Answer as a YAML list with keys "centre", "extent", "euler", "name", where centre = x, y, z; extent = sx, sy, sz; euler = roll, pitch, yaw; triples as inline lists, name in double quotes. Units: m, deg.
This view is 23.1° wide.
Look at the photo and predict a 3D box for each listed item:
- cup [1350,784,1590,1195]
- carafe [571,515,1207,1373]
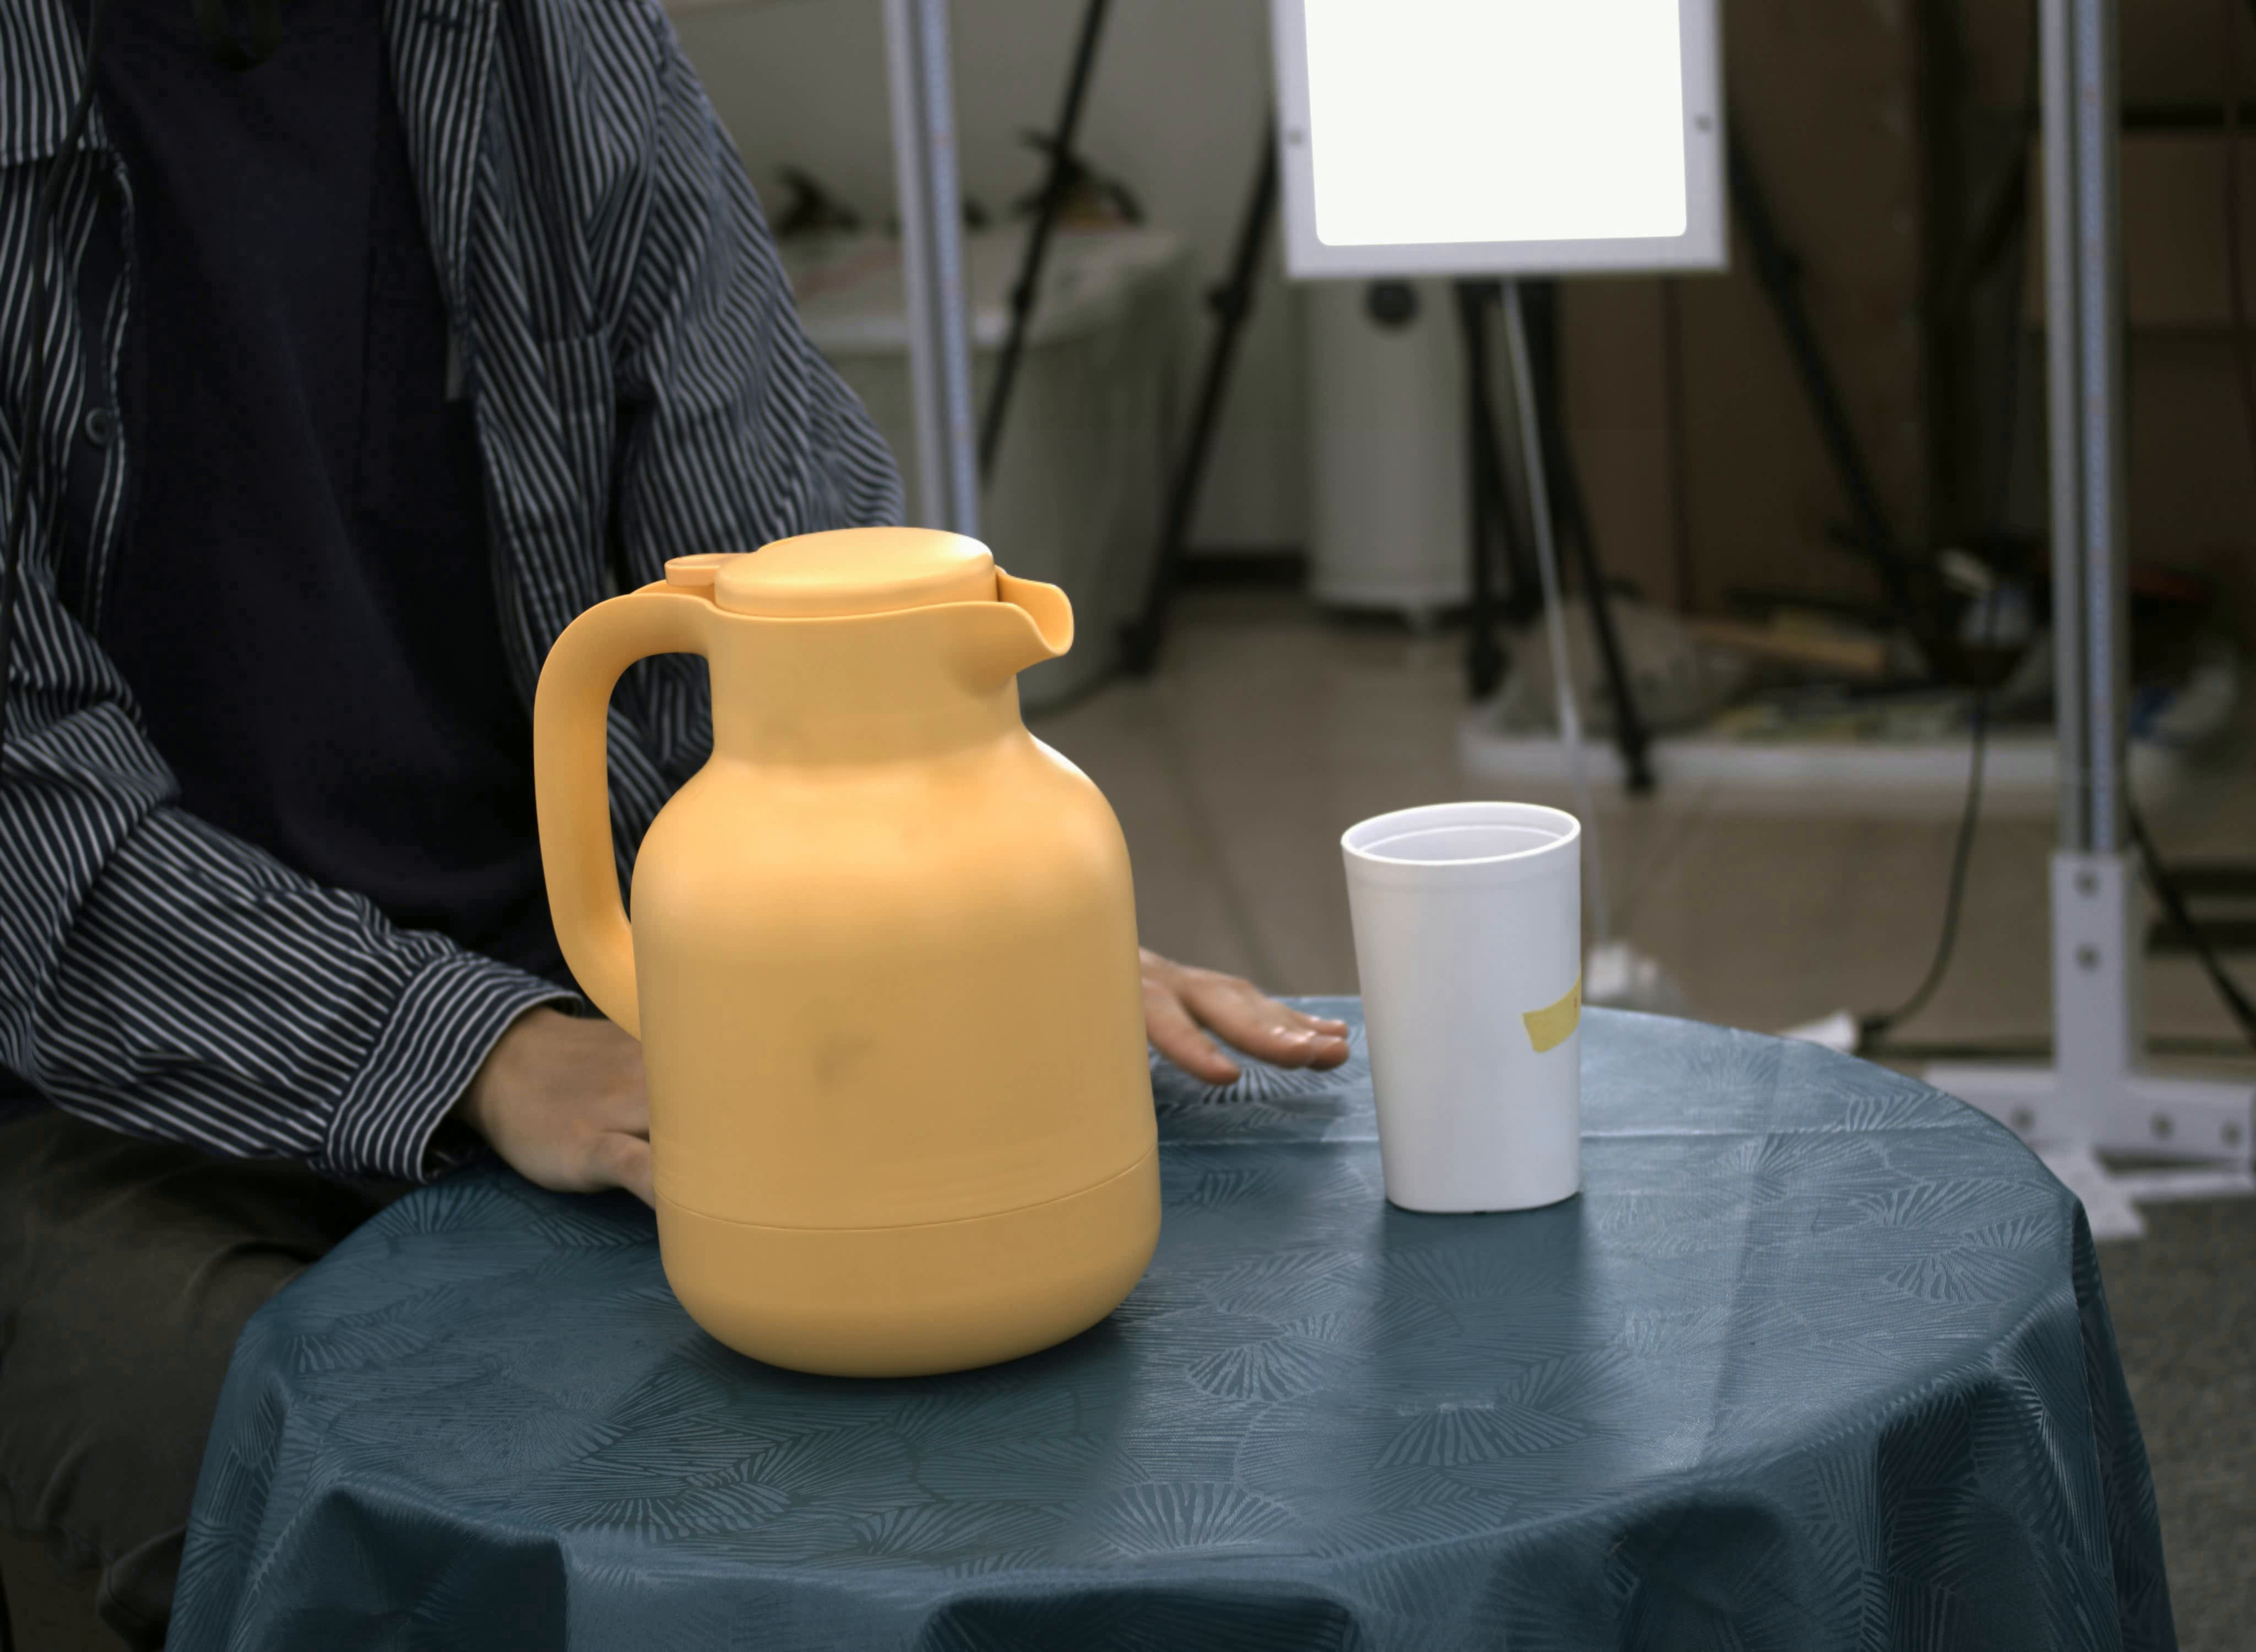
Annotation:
- centre: [0.120, 0.056, 1.863]
  extent: [0.081, 0.126, 0.081]
  euler: [-5, 14, 0]
  name: "cup"
- centre: [-0.079, 0.033, 1.760]
  extent: [0.206, 0.261, 0.160]
  euler: [2, 14, 27]
  name: "carafe"
